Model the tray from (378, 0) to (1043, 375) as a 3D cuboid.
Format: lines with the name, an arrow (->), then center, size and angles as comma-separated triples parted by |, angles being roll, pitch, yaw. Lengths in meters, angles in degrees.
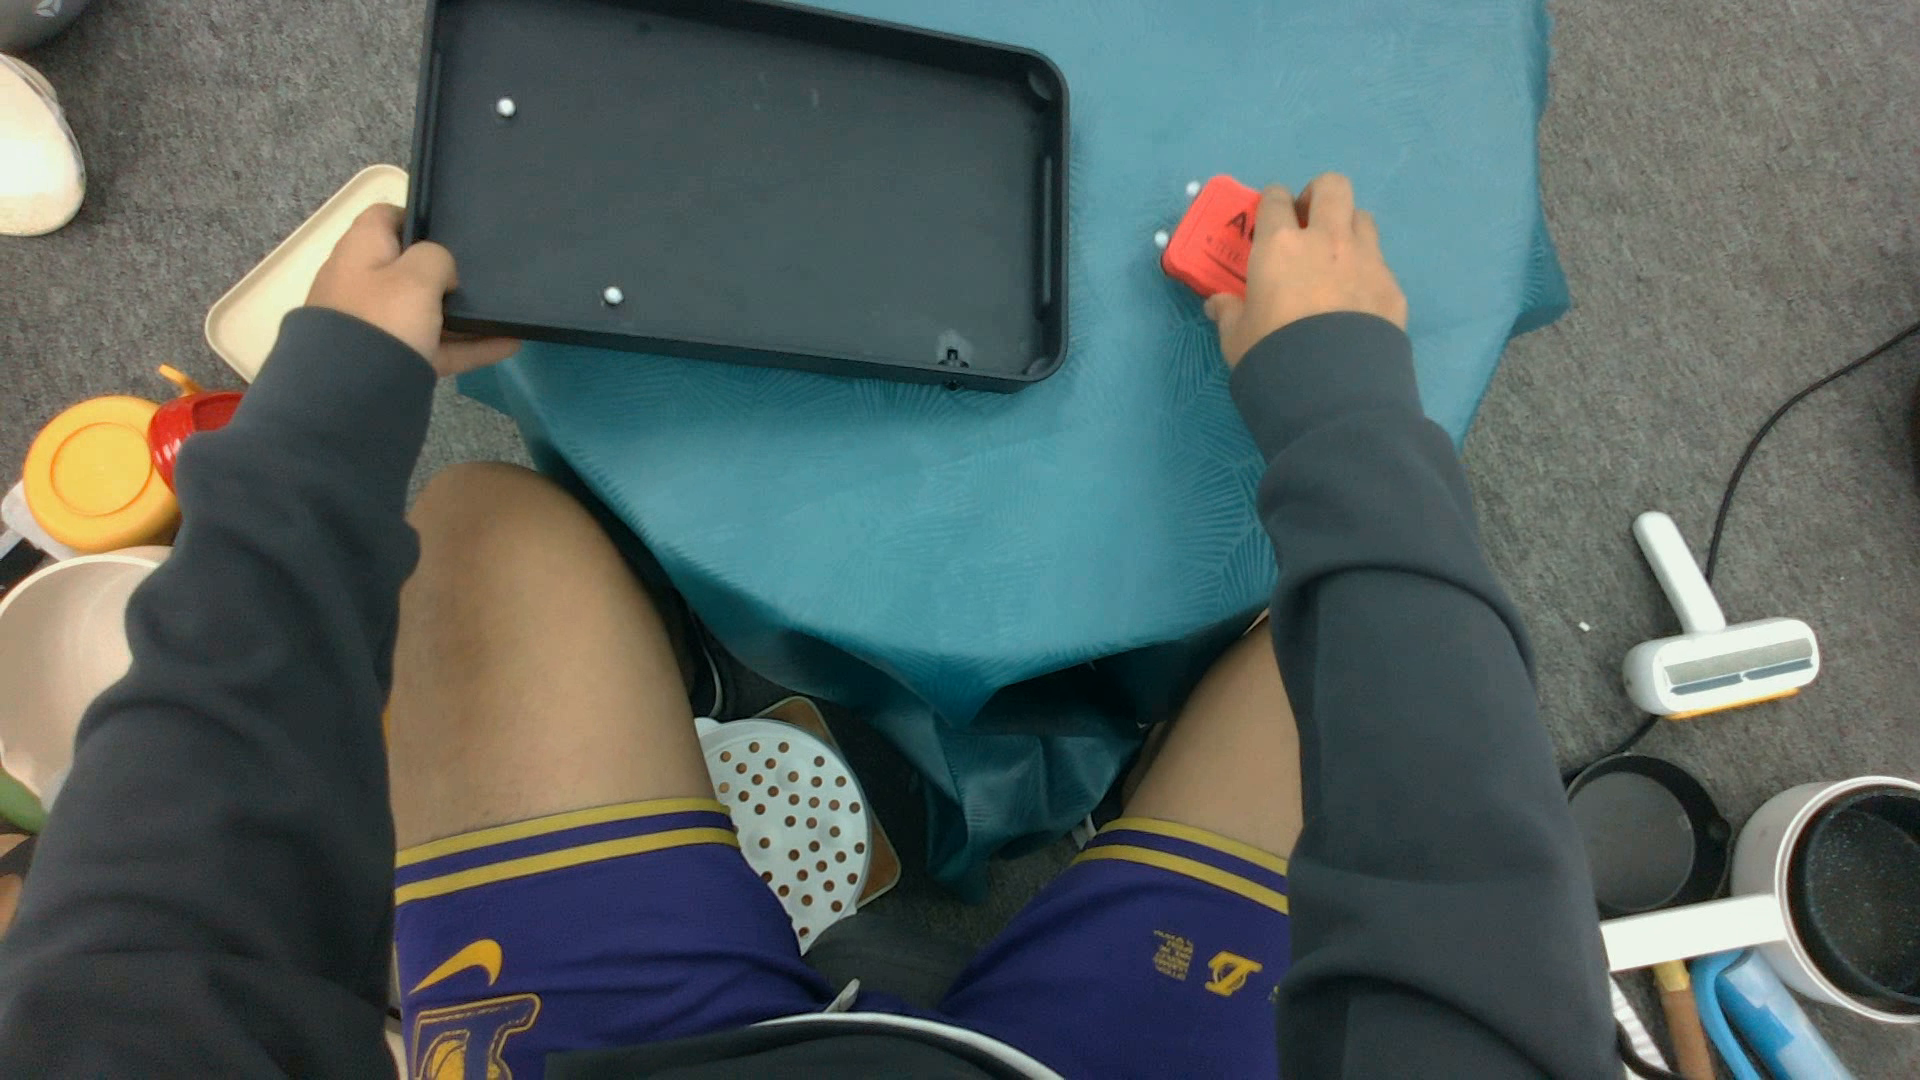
tray -> -0.112, -0.182, 0.681 | 0.318, 0.037, 0.184 | 2, 82, -20

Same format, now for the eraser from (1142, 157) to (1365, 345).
eraser -> 0.154, -0.151, 0.725 | 0.108, 0.023, 0.059 | 30, 93, -7
